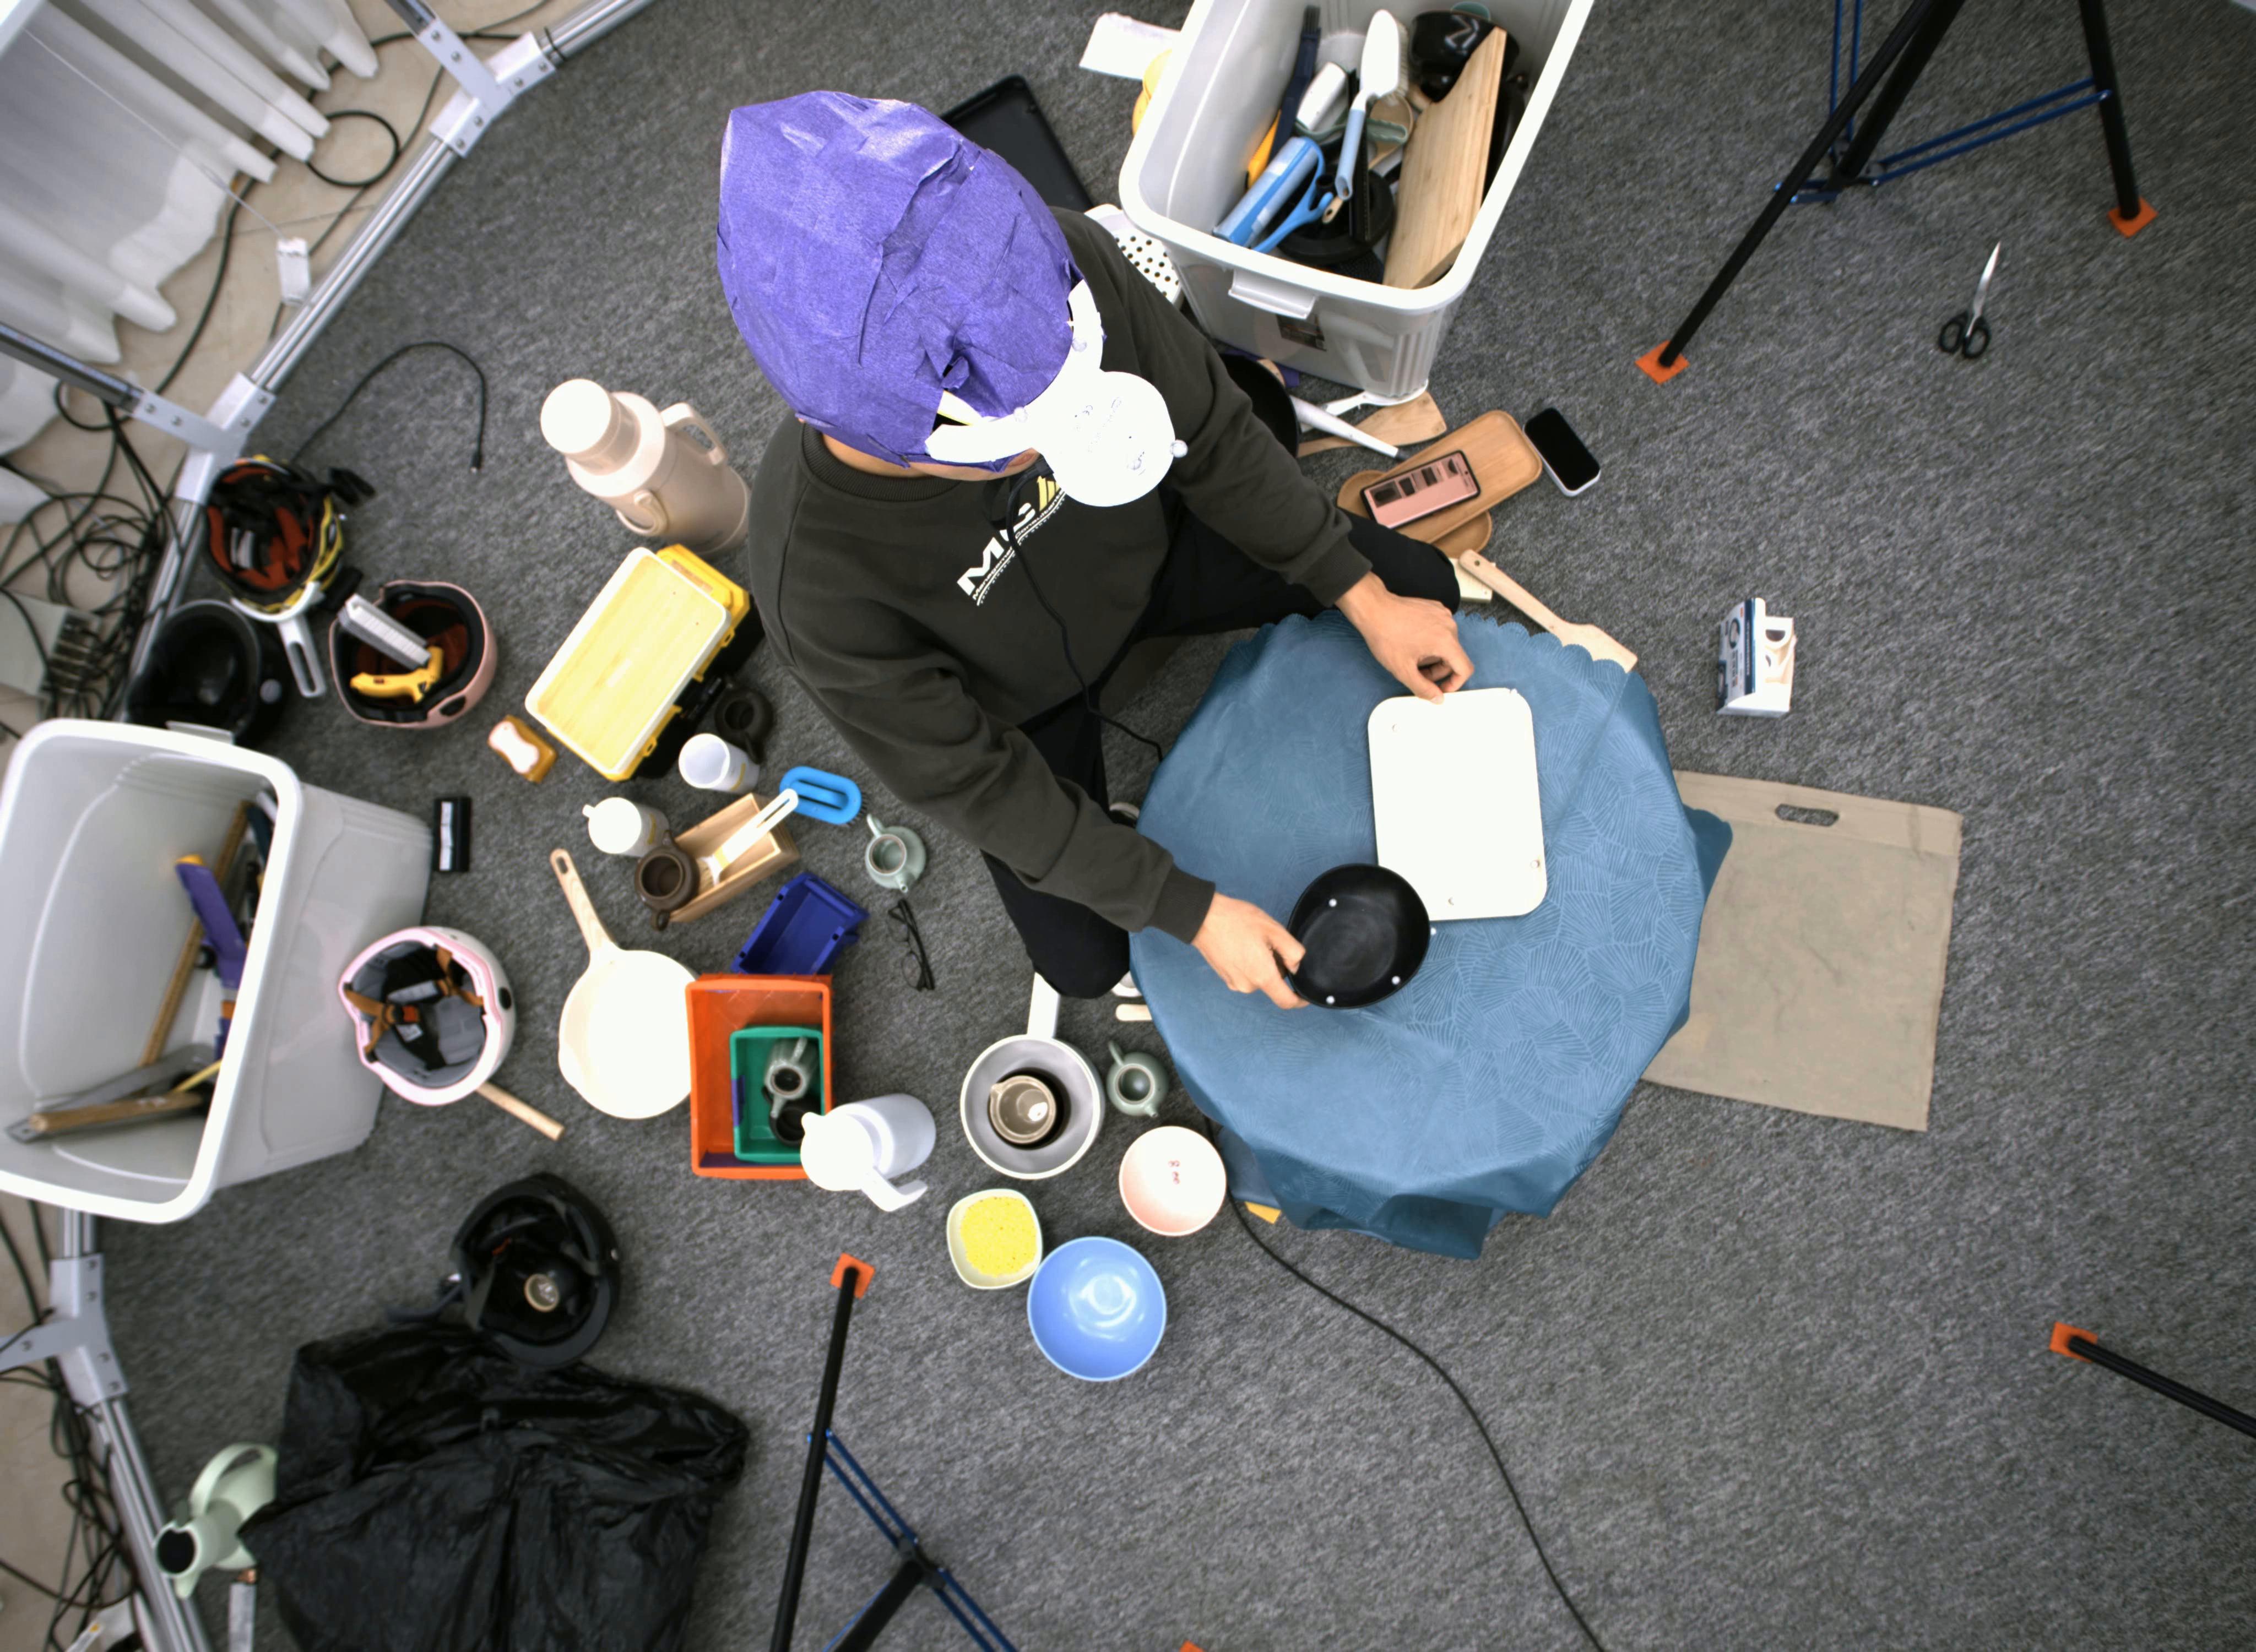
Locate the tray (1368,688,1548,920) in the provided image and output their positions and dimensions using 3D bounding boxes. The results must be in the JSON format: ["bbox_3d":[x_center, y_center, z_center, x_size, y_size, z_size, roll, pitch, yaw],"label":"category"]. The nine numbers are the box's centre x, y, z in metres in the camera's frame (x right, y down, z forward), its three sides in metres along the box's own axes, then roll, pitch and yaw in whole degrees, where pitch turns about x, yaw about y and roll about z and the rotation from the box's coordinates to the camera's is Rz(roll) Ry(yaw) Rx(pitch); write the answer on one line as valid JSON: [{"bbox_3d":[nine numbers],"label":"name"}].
[{"bbox_3d":[0.345,-0.024,1.442,0.172,0.017,0.238,-4,86,11],"label":"tray"}]

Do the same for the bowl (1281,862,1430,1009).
[{"bbox_3d":[0.225,0.119,1.404,0.137,0.068,0.168,39,70,12],"label":"bowl"}]
